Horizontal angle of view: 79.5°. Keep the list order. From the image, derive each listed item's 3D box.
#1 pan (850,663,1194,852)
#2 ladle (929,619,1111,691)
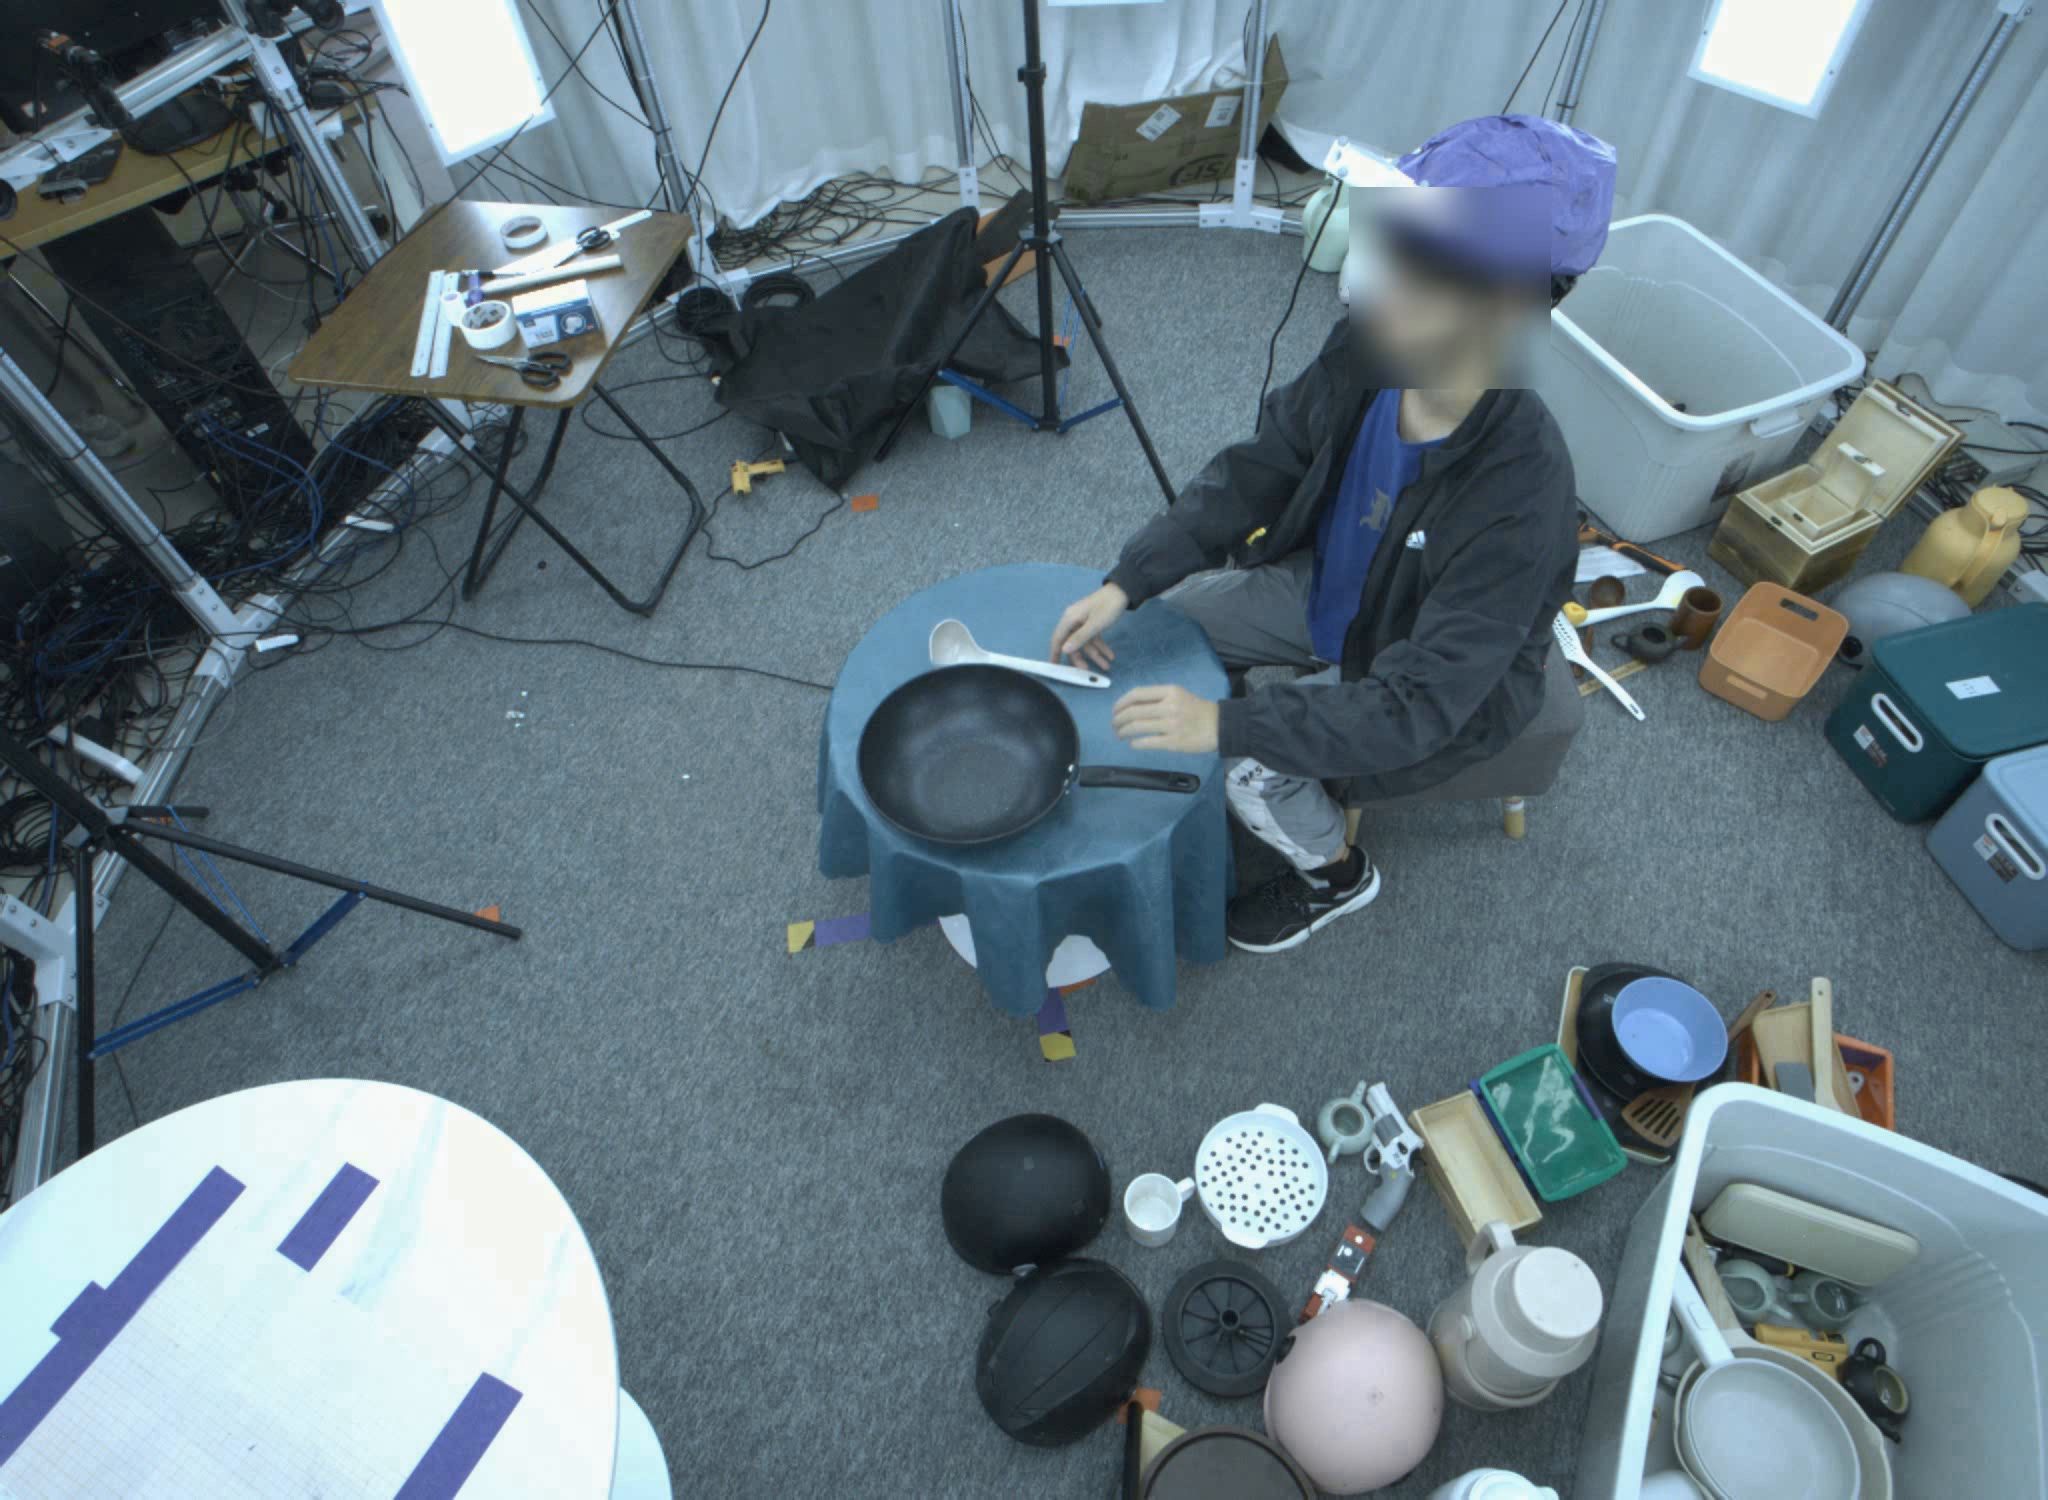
[{"bbox_3d":[-0.003,0.033,1.690,0.473,0.113,0.309,11,57,11],"label":"pan"},{"bbox_3d":[-0.007,-0.132,1.833,0.273,0.070,0.089,11,71,8],"label":"ladle"}]
